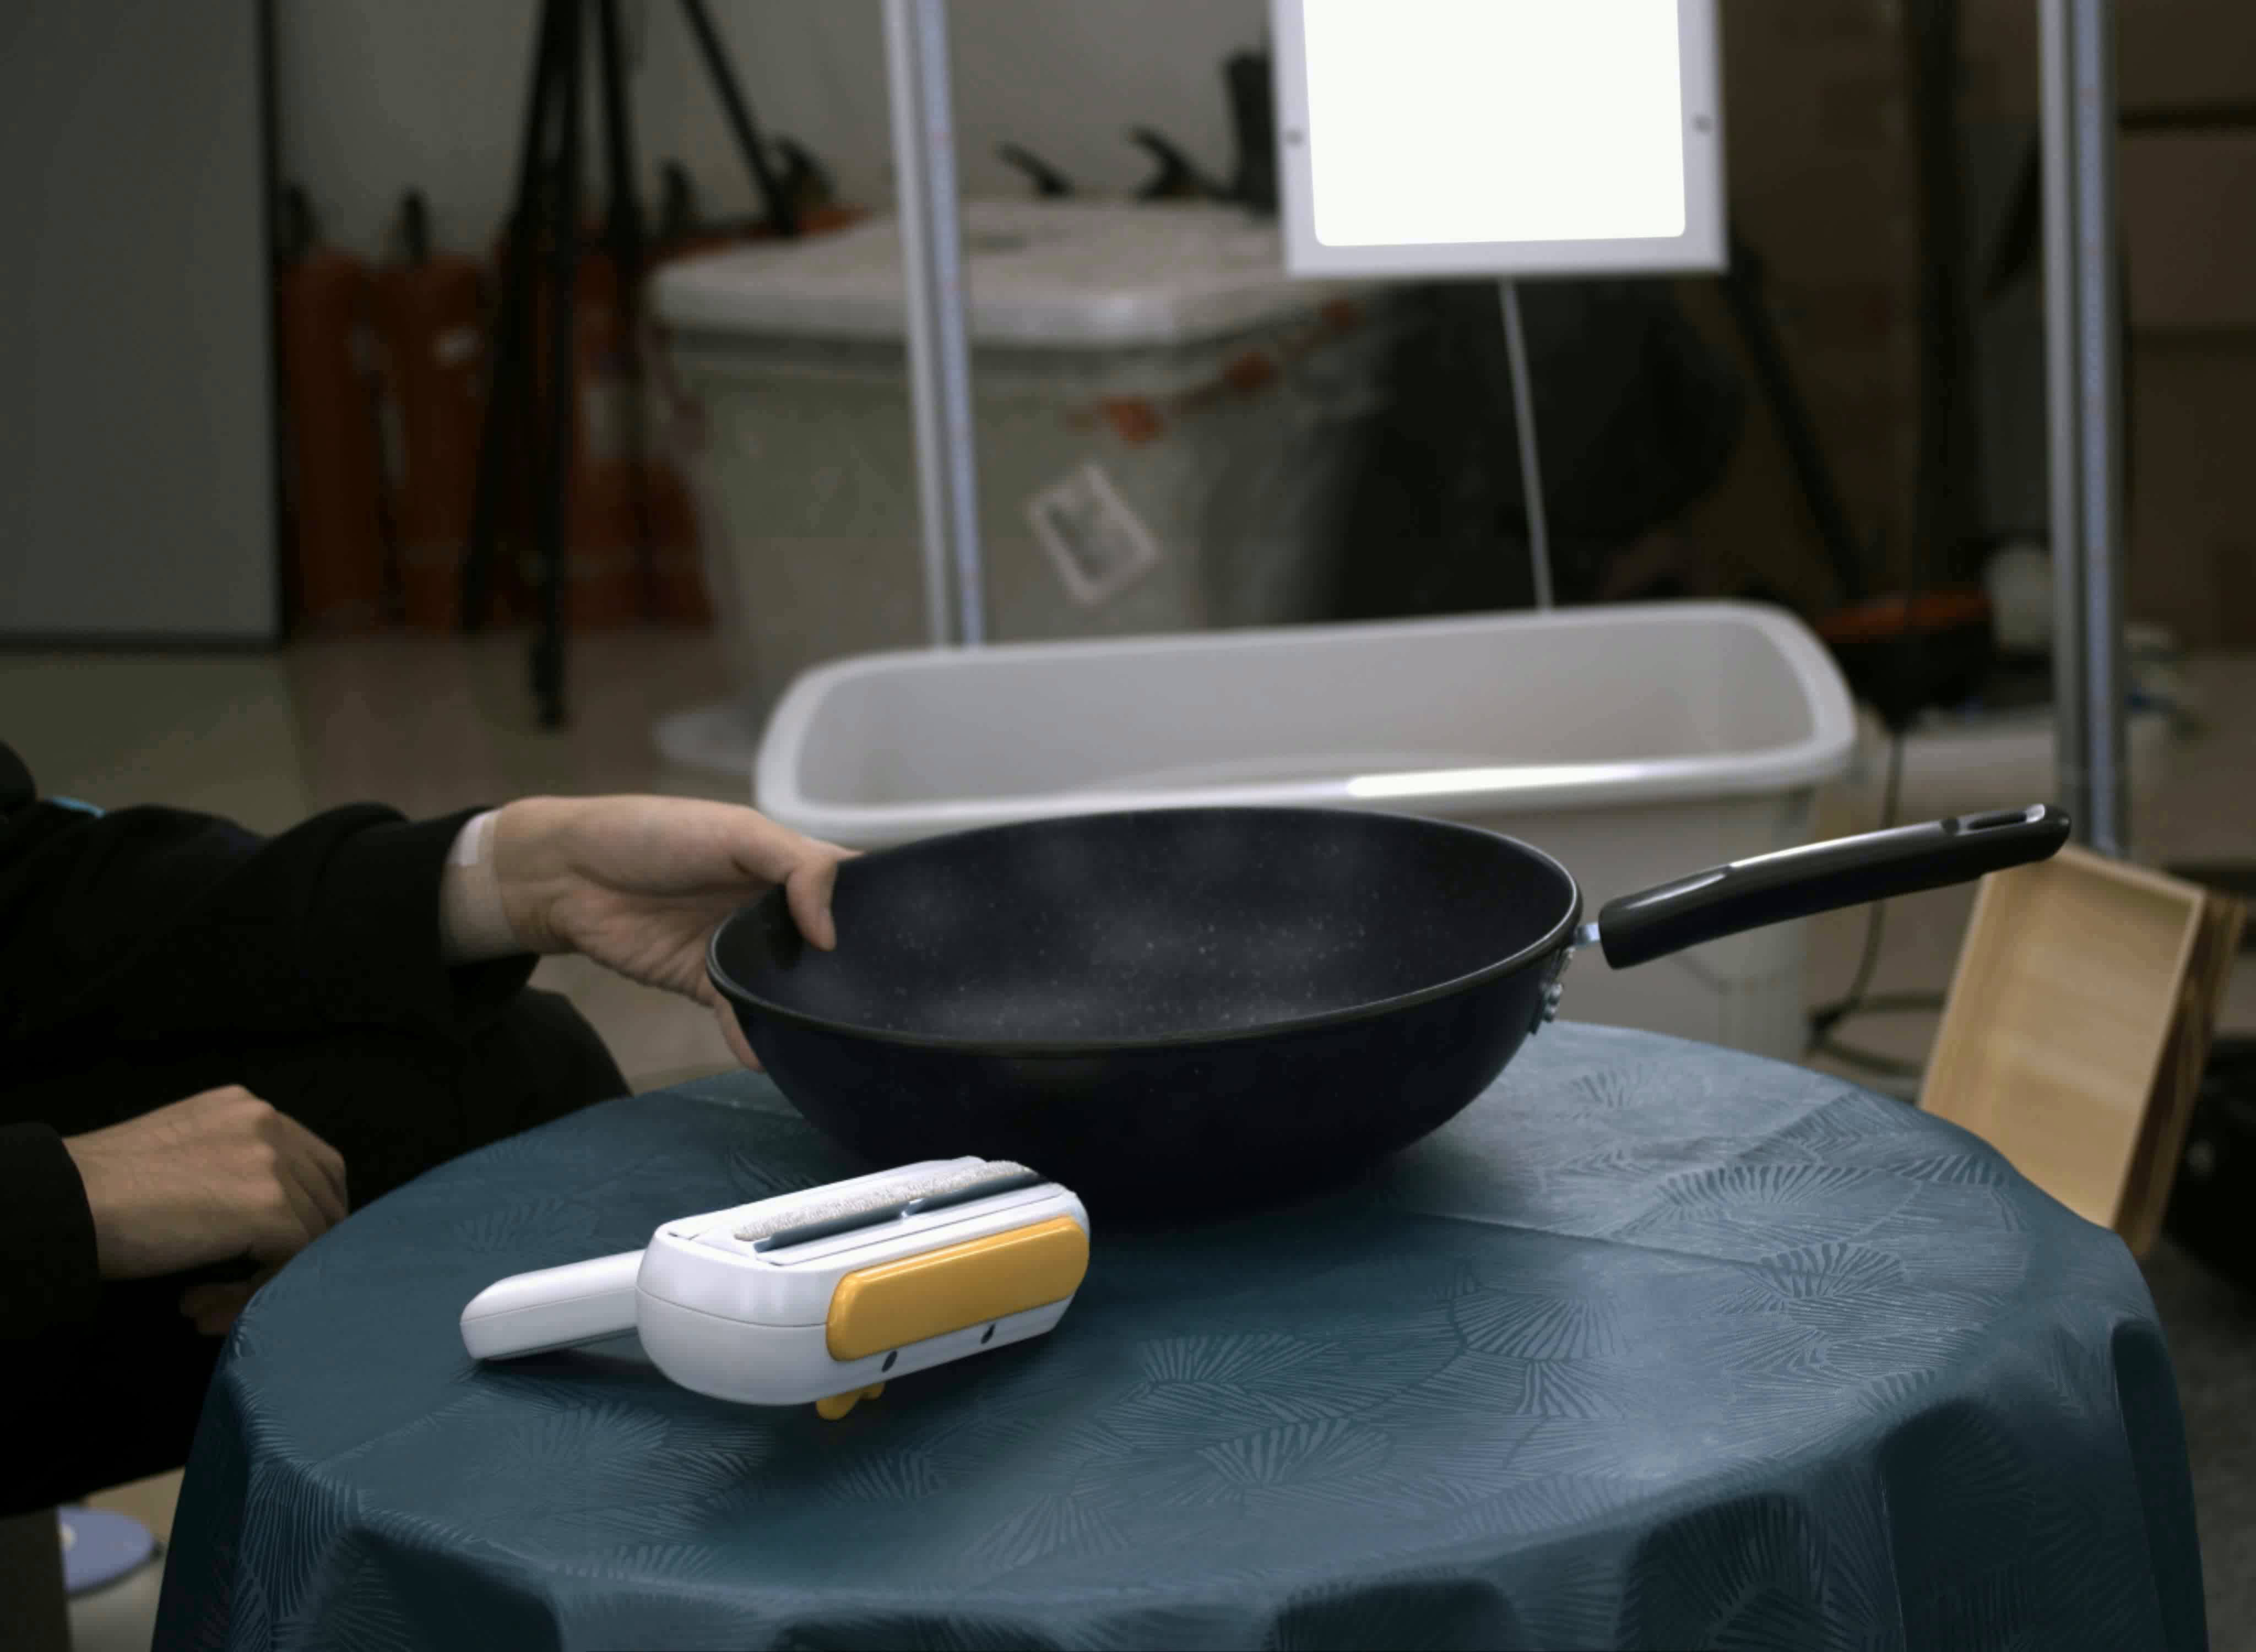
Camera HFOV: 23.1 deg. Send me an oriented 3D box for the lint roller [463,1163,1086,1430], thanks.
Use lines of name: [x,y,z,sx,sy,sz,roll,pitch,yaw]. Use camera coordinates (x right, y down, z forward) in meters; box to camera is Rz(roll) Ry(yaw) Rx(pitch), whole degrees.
lint roller: [-0.132,0.144,1.729,0.196,0.074,0.188,3,10,35]

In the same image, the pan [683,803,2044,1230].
pan: [0.083,0.059,1.914,0.480,0.112,0.307,-3,16,11]
